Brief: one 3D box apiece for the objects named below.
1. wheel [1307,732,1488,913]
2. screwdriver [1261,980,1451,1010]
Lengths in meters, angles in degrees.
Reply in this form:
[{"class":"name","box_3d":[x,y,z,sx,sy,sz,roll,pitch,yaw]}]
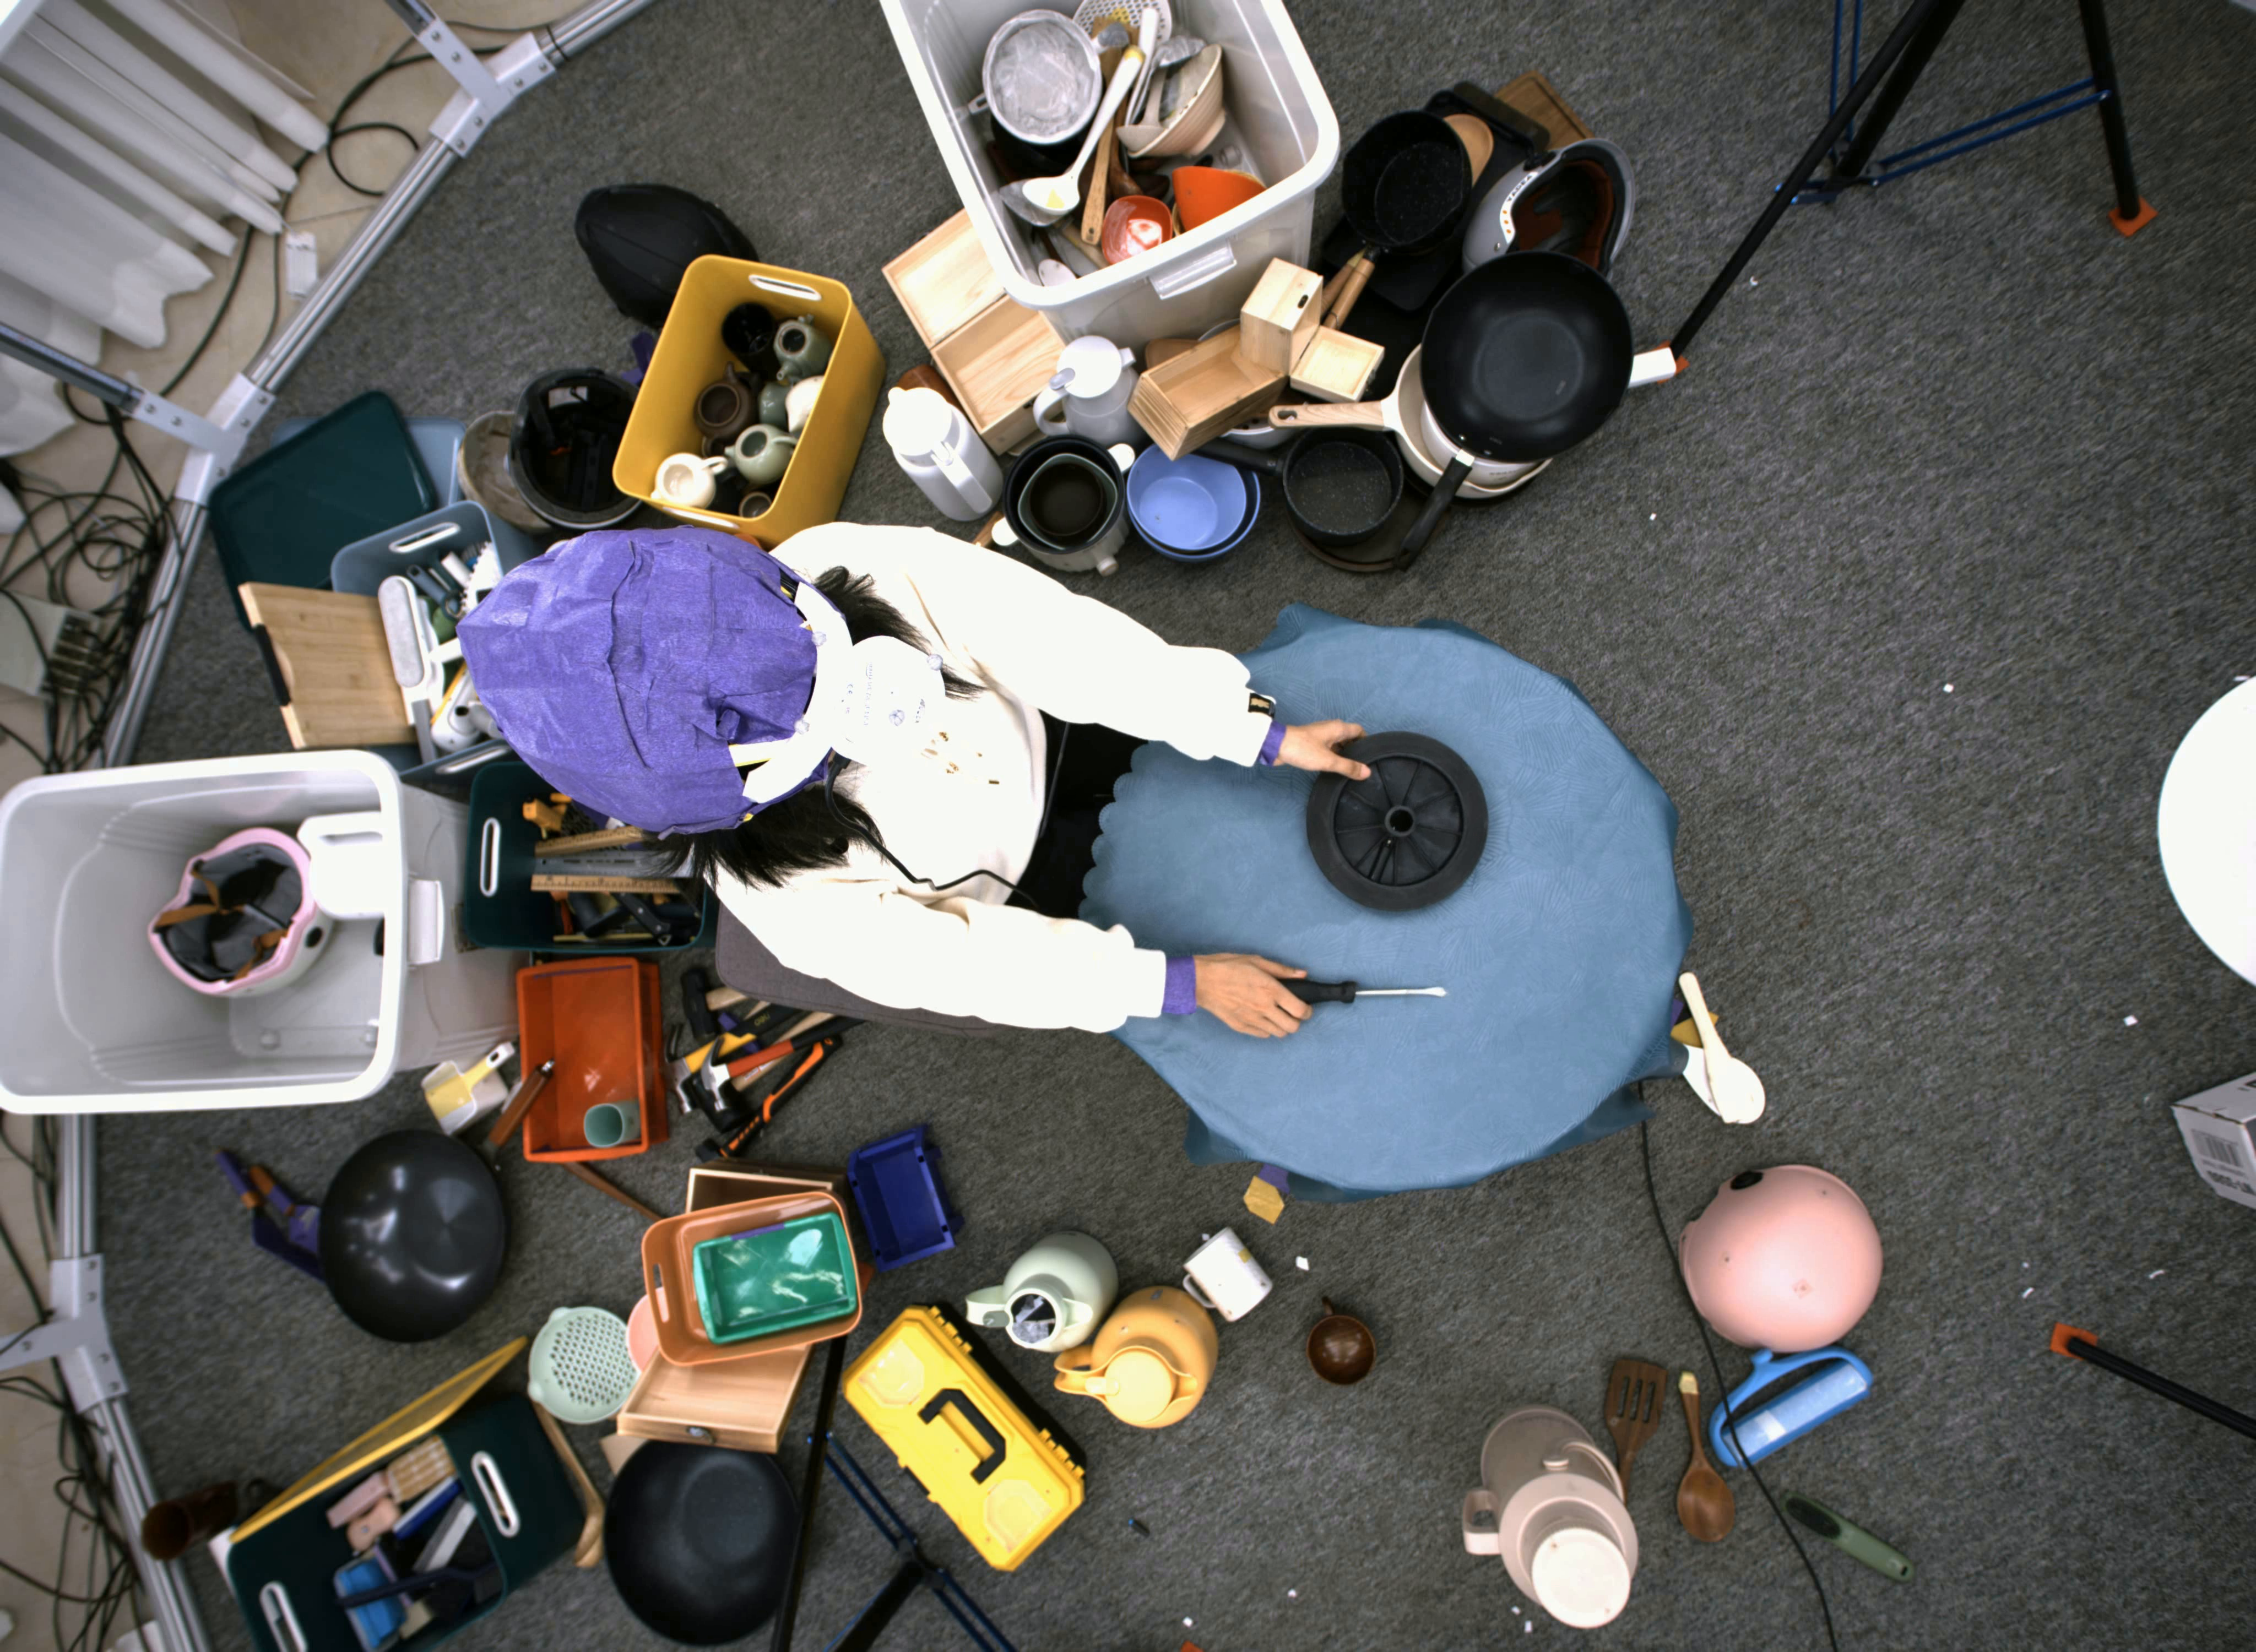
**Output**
[{"class":"wheel","box_3d":[0.279,-0.004,1.421,0.188,0.078,0.190,-1,95,7]},{"class":"screwdriver","box_3d":[0.238,0.177,1.446,0.198,0.031,0.031,1,85,5]}]
